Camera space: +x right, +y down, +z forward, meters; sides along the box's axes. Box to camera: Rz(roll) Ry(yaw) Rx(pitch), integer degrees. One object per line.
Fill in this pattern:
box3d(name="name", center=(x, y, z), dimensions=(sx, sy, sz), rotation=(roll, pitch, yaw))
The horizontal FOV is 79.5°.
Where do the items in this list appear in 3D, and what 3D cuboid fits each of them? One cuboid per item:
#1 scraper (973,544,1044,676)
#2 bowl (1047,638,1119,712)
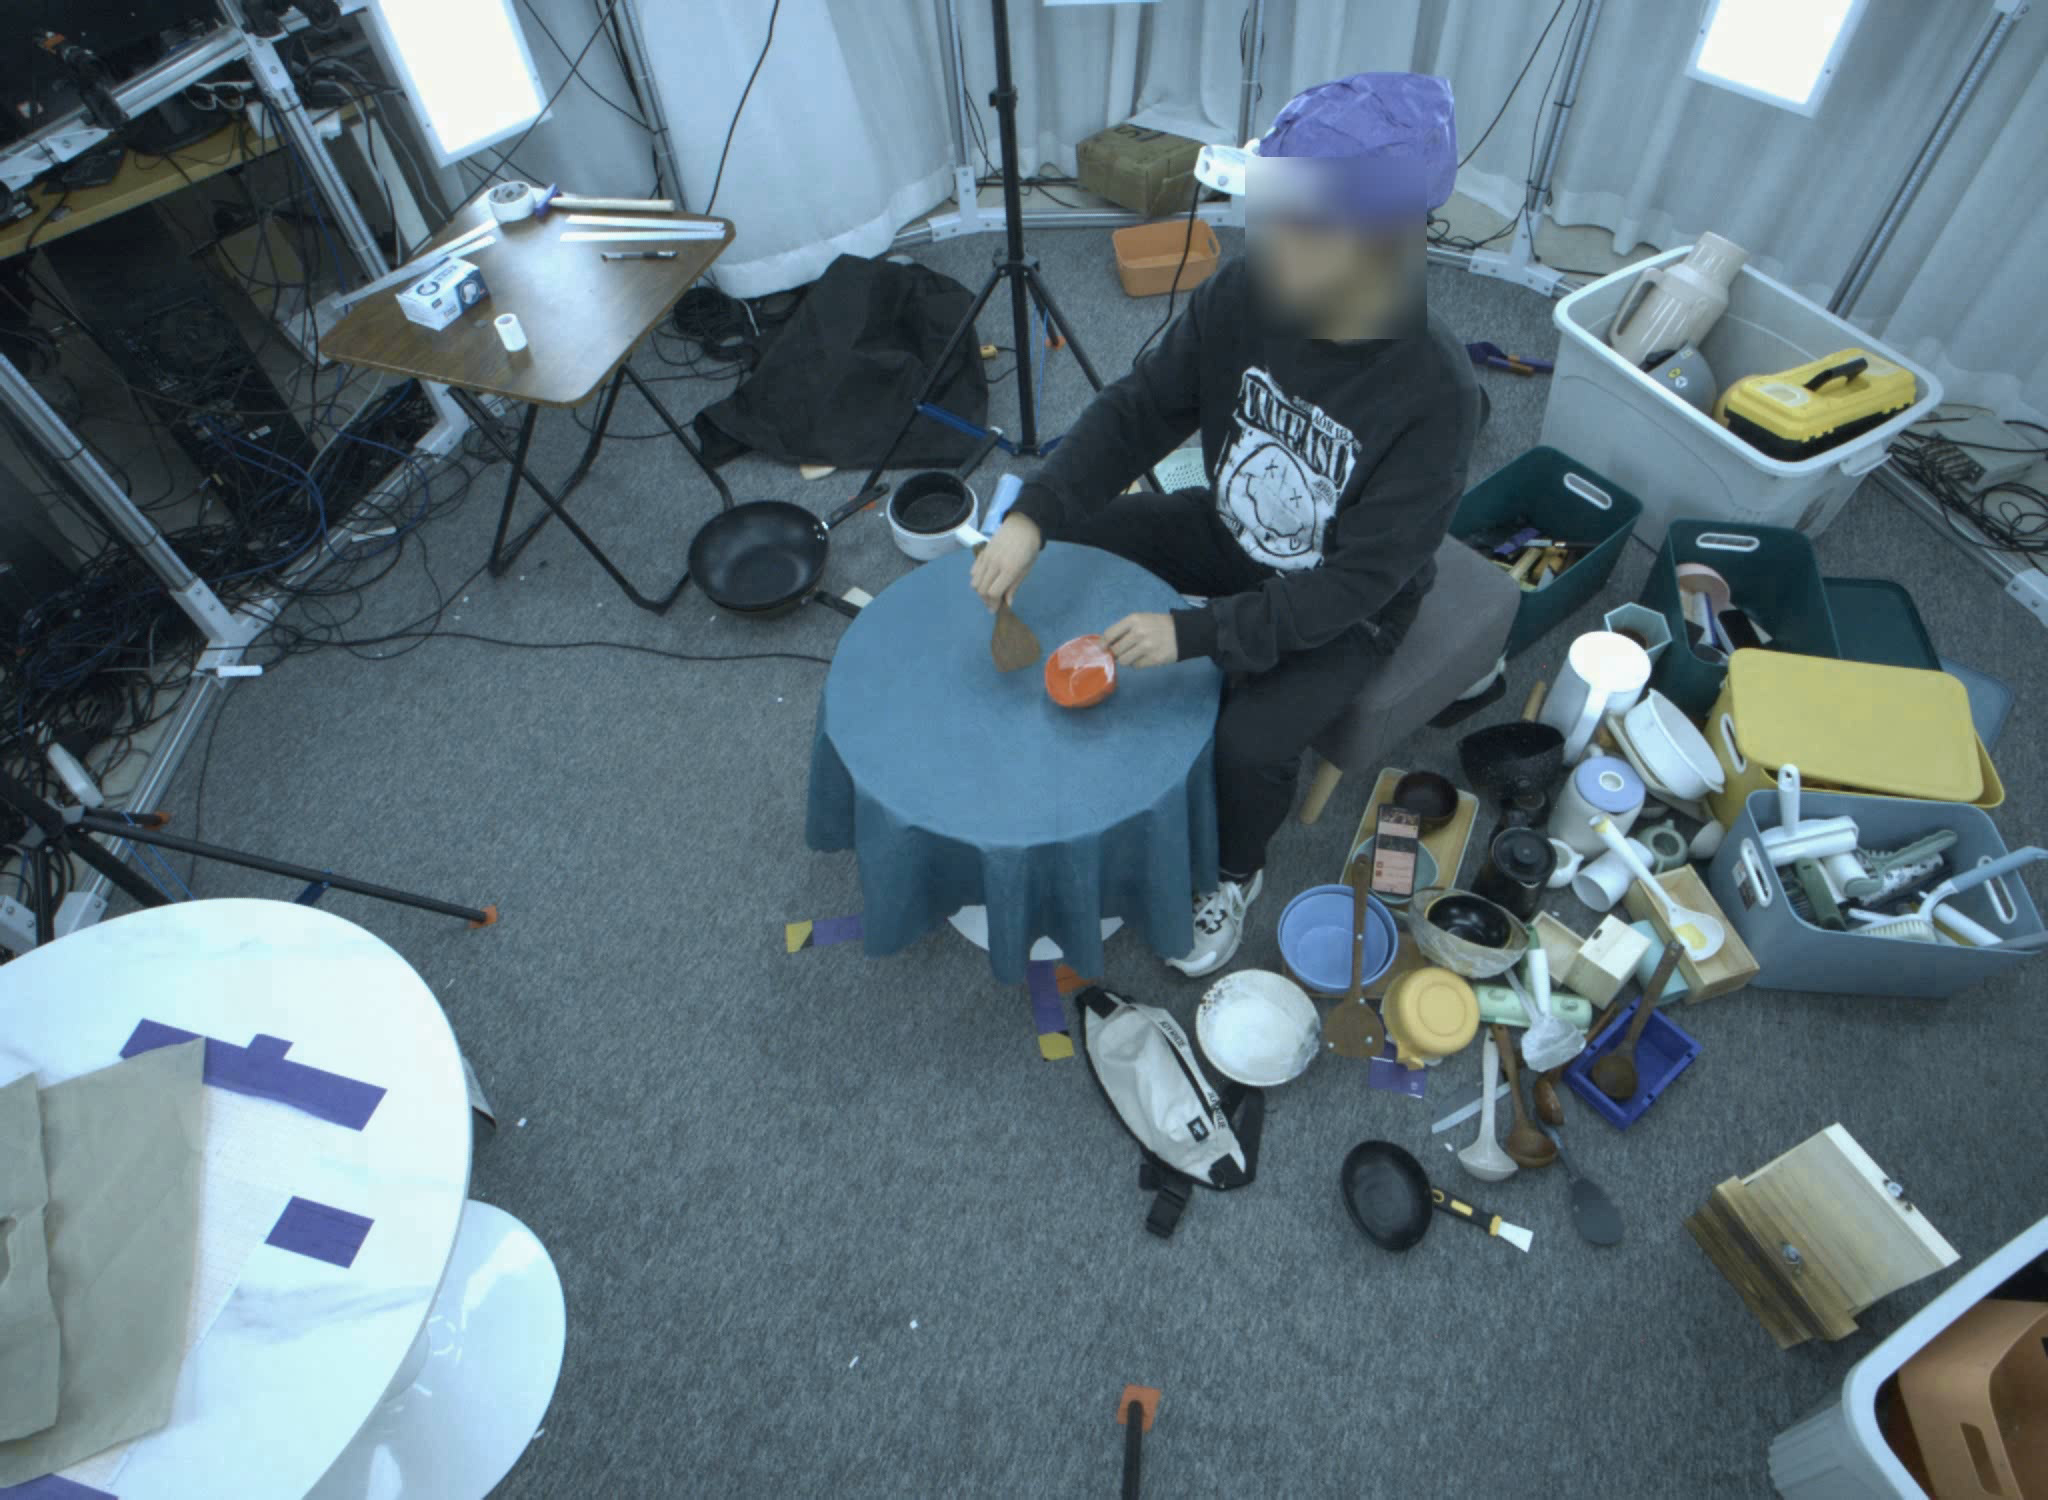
box3d(name="scraper", center=(-0.035, -0.212, 1.833), dimensions=(0.076, 0.011, 0.210), rotation=(-16, 81, -11))
box3d(name="bowl", center=(0.095, -0.103, 1.822), dimensions=(0.117, 0.052, 0.118), rotation=(-13, 61, 25))
